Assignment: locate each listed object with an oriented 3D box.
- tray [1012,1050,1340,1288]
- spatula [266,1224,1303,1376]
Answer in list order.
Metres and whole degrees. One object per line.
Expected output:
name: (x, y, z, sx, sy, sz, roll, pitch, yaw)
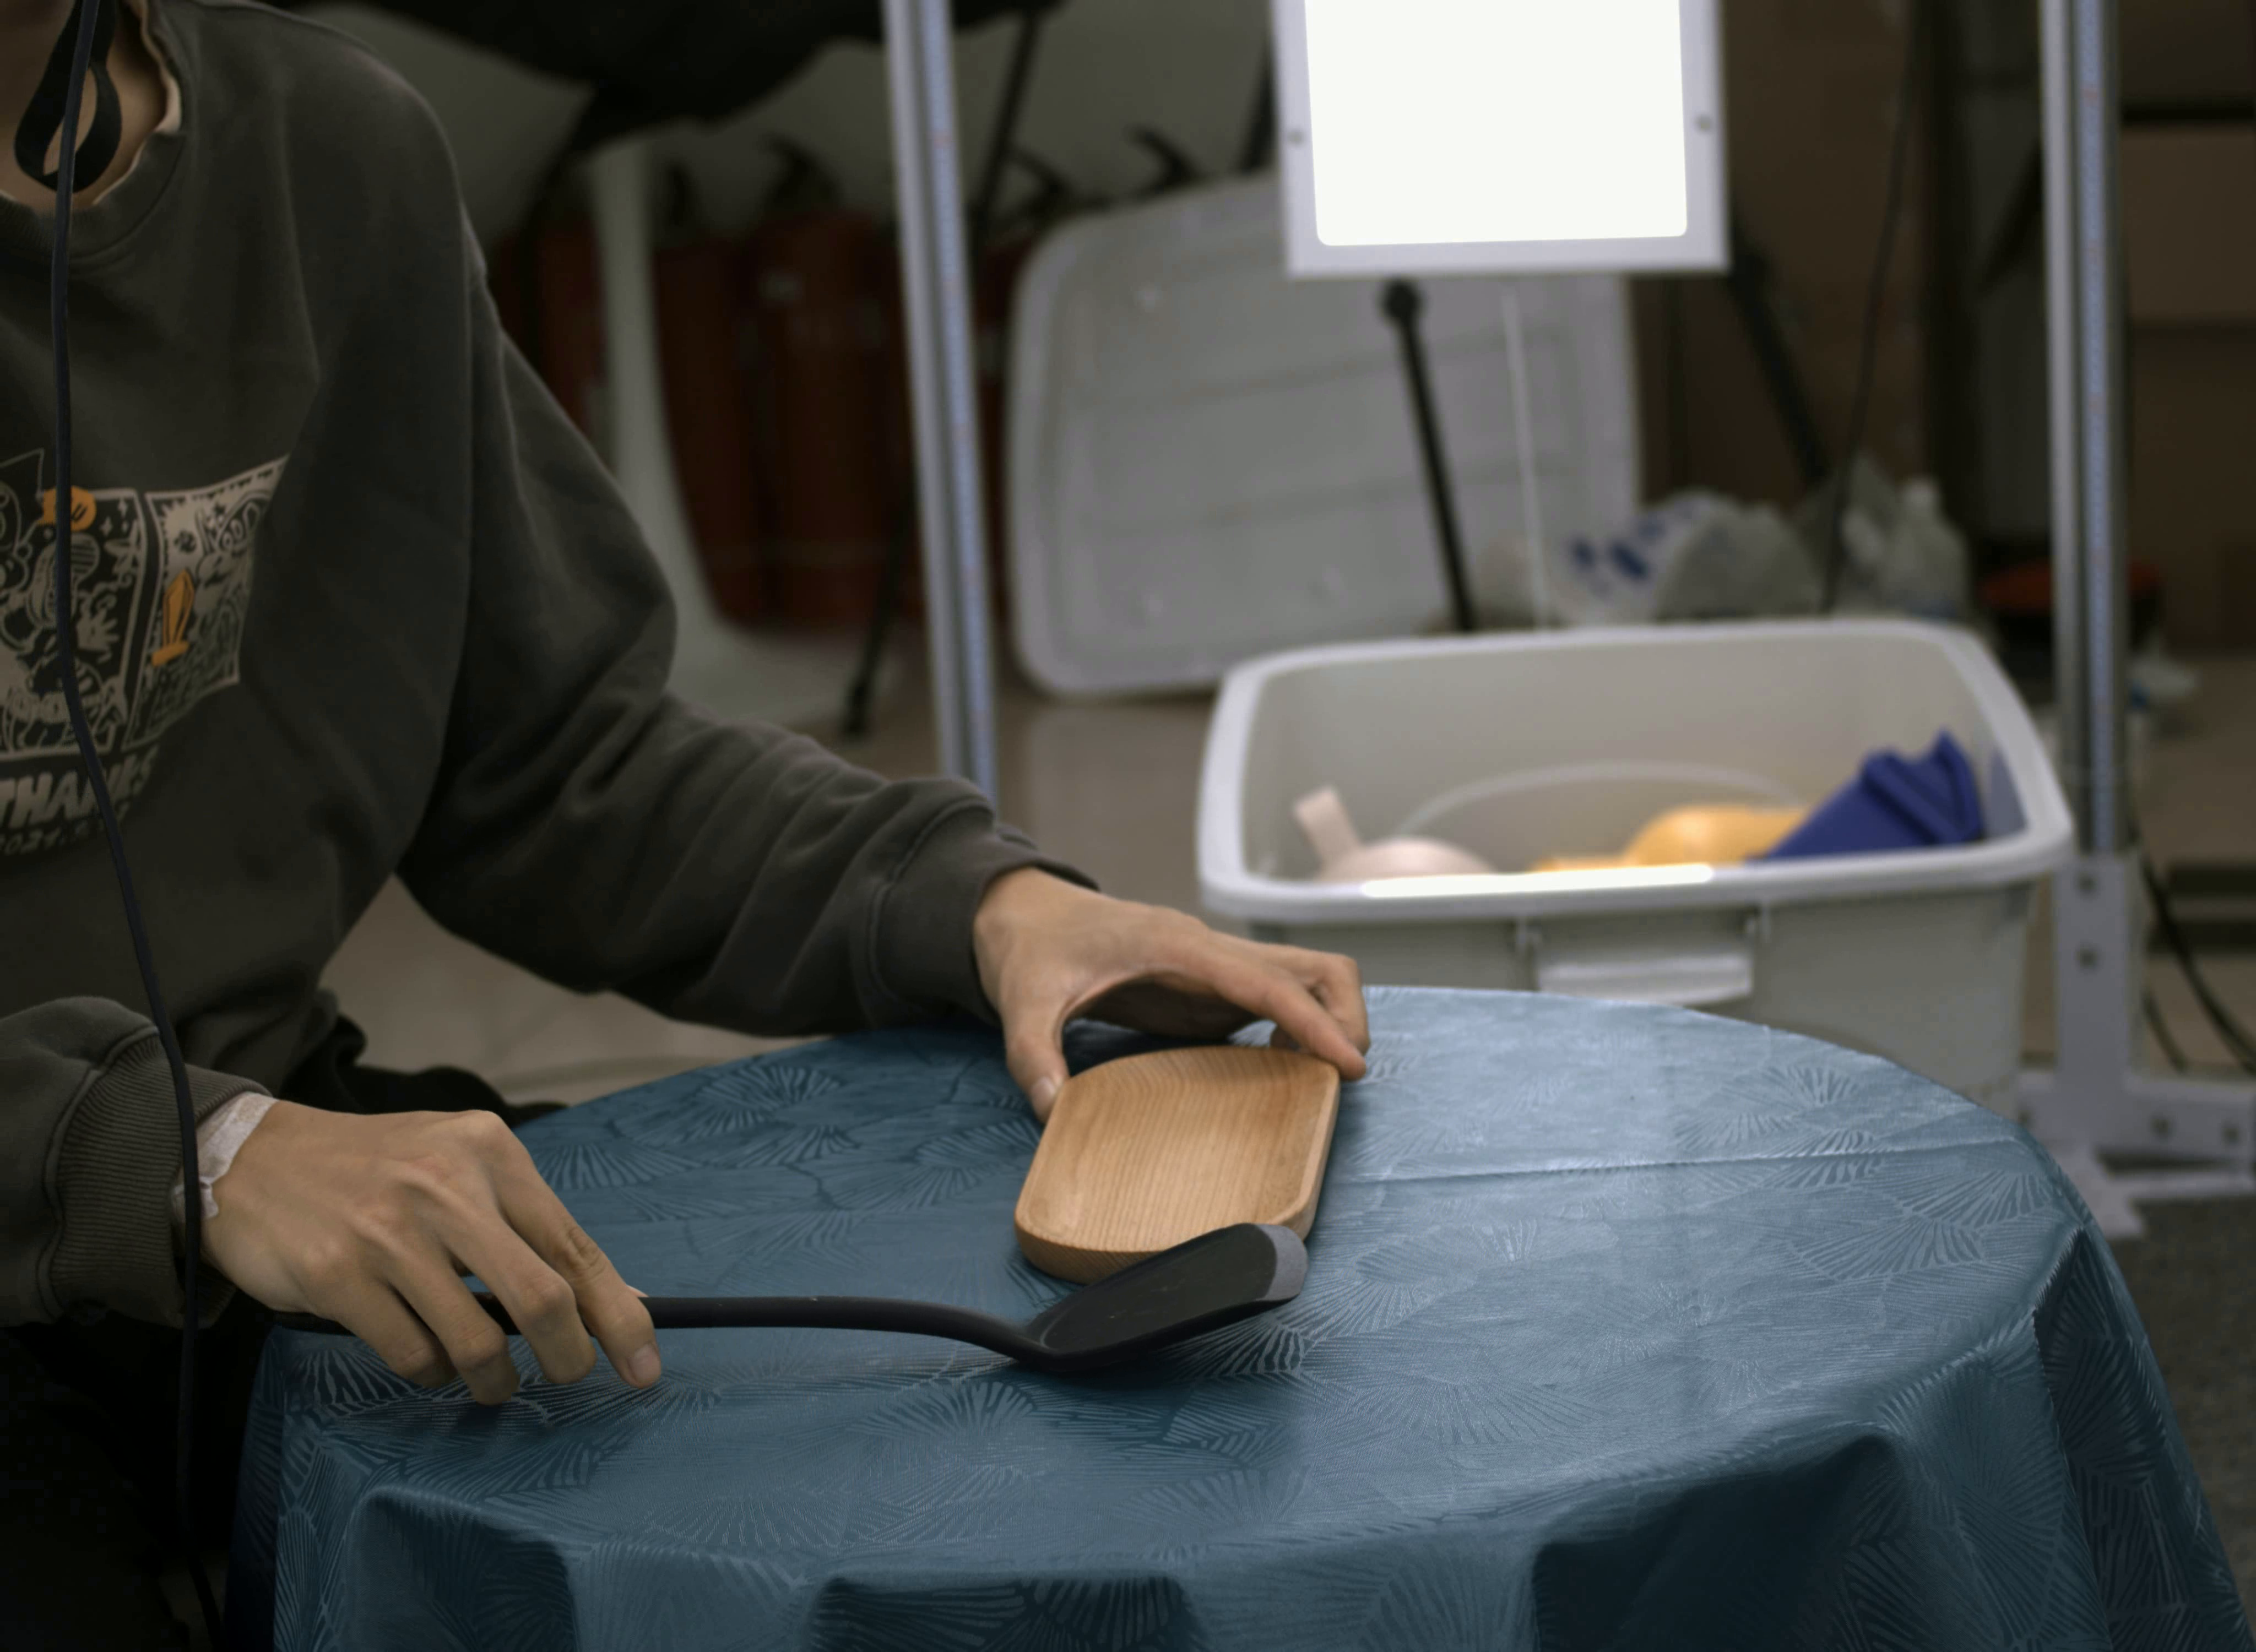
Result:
tray: (0.019, 0.116, 1.897, 0.102, 0.020, 0.229, -4, 15, 8)
spatula: (-0.108, 0.147, 1.735, 0.325, 0.040, 0.099, 3, 9, 1)
